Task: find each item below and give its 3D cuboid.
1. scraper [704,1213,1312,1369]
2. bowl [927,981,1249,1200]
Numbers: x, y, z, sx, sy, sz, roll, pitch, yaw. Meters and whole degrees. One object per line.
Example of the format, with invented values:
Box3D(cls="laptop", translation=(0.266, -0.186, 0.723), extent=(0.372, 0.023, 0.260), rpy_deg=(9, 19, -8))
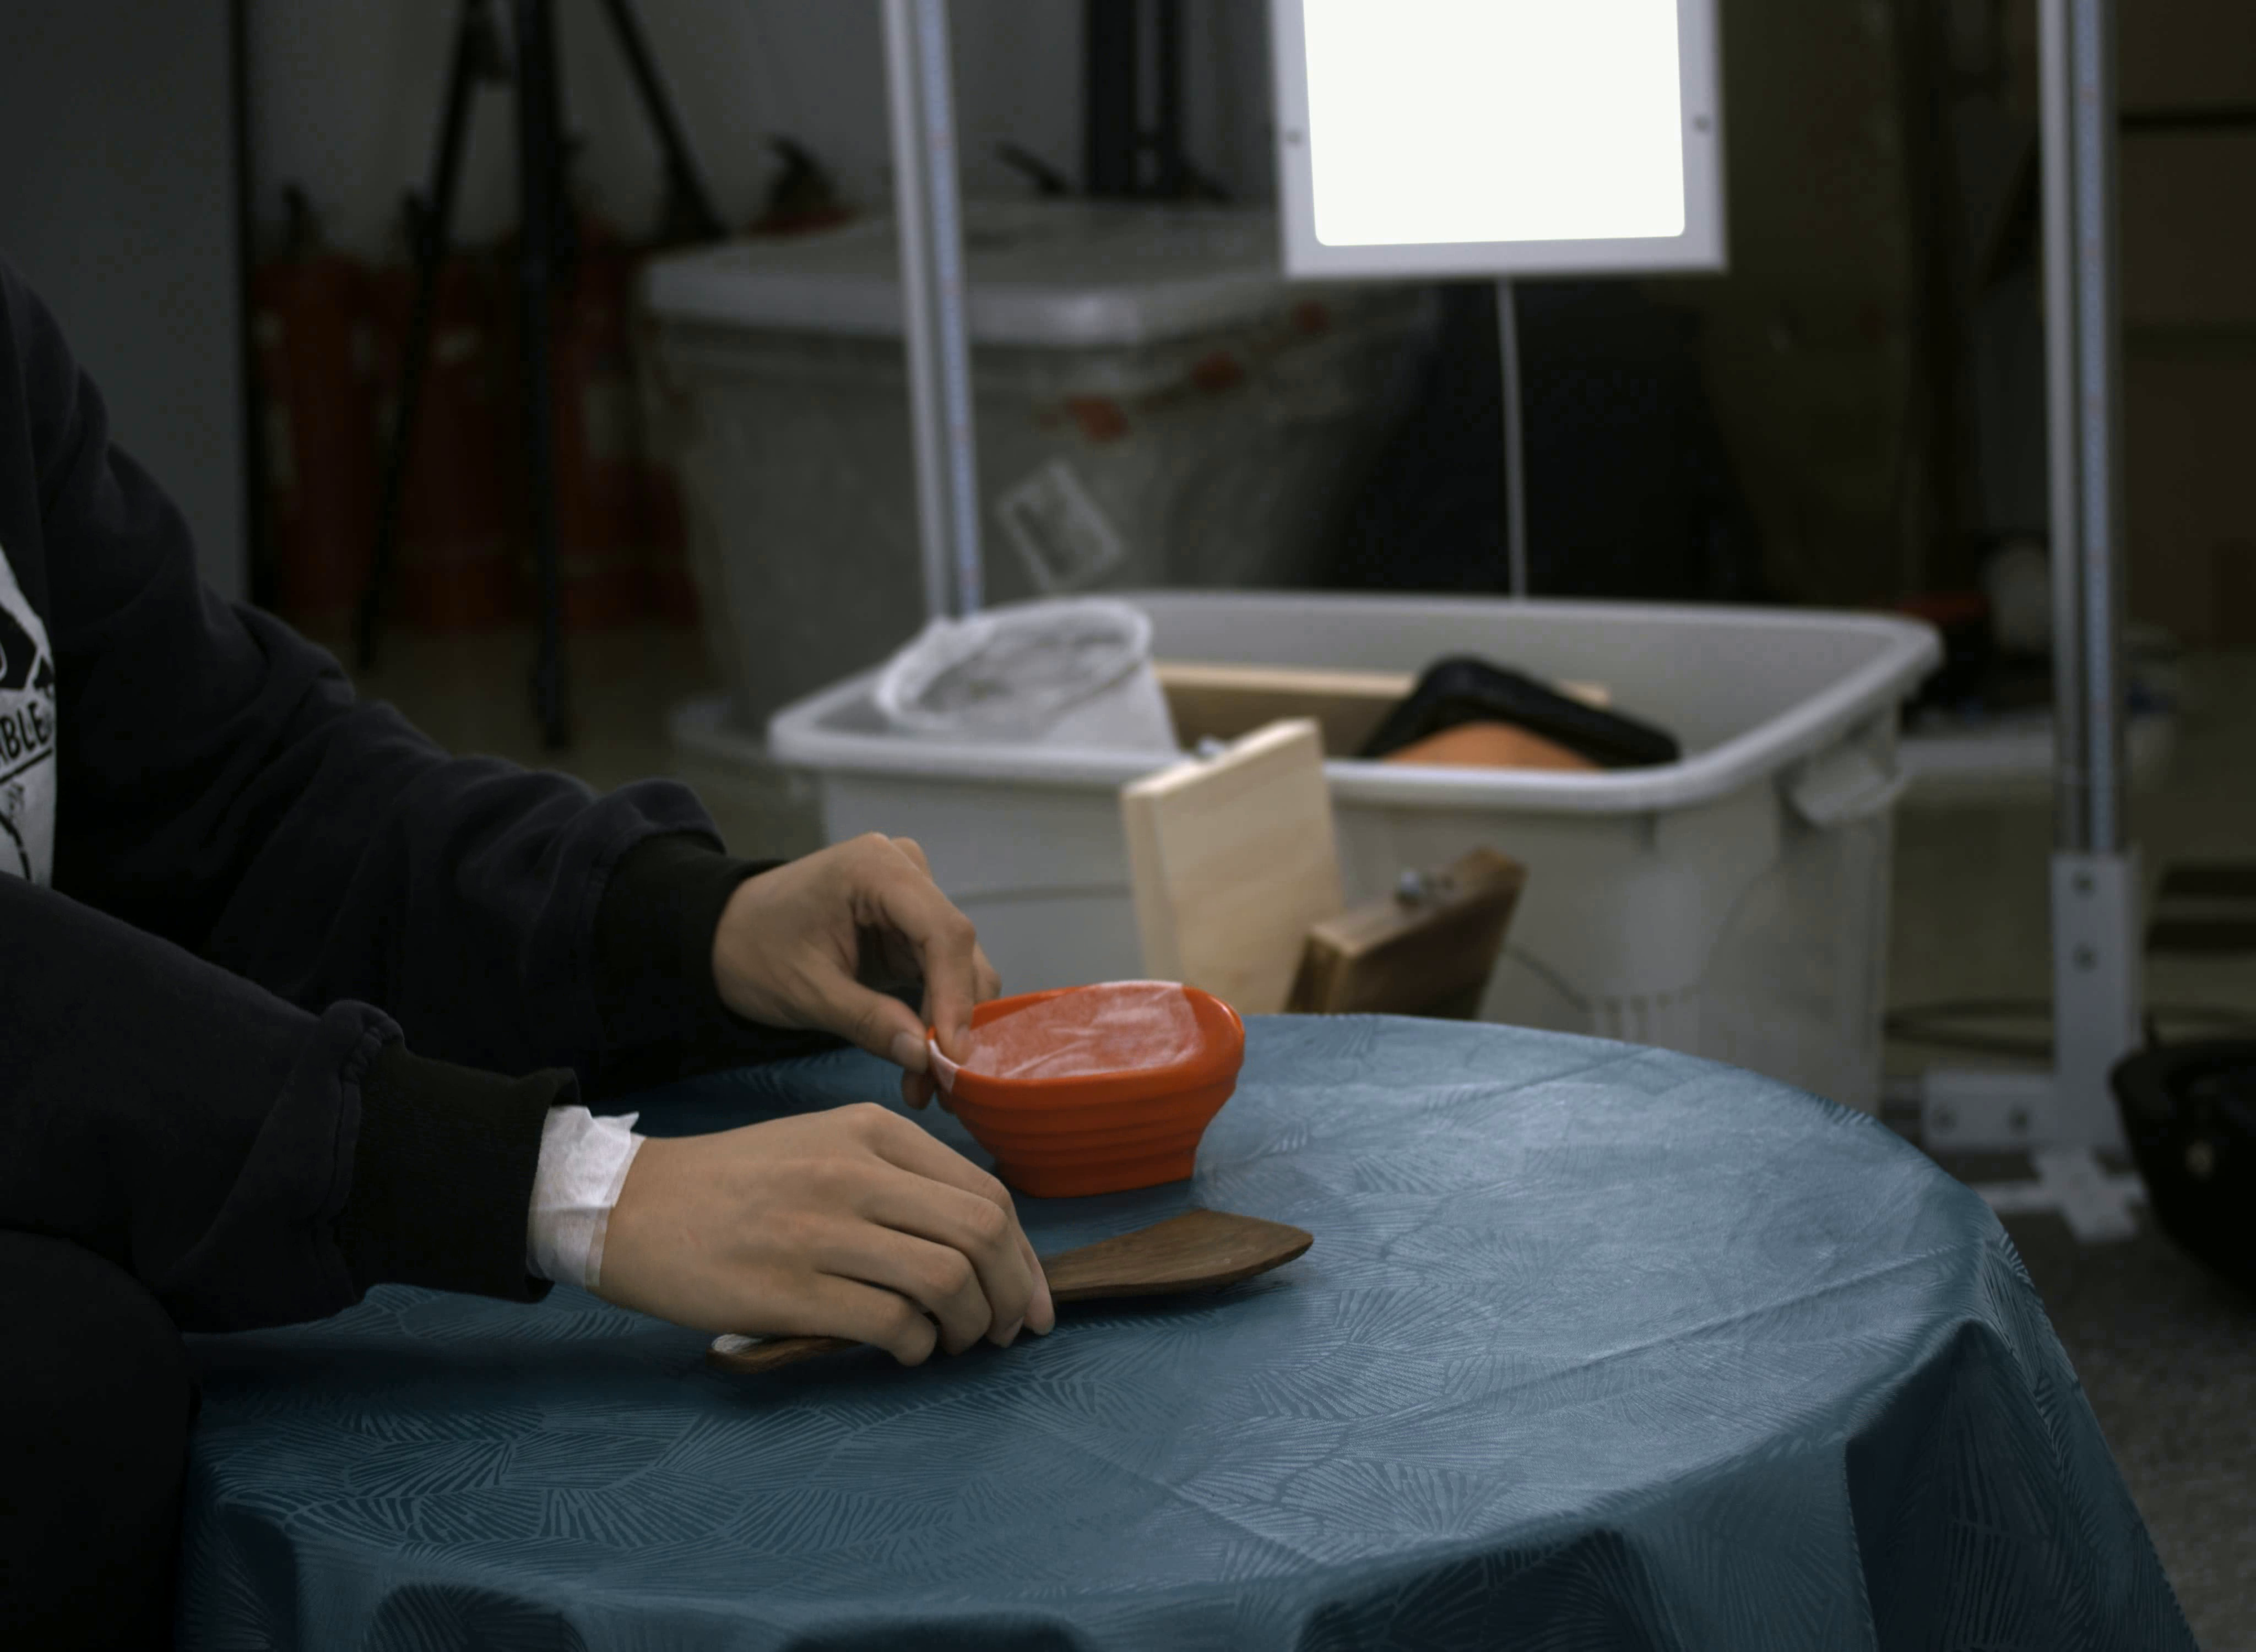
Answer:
Box3D(cls="scraper", translation=(-0.041, 0.151, 1.767), extent=(0.206, 0.011, 0.077), rpy_deg=(-10, 9, -31))
Box3D(cls="bowl", translation=(-0.013, 0.095, 1.924), extent=(0.118, 0.051, 0.119), rpy_deg=(-3, 16, -1))
